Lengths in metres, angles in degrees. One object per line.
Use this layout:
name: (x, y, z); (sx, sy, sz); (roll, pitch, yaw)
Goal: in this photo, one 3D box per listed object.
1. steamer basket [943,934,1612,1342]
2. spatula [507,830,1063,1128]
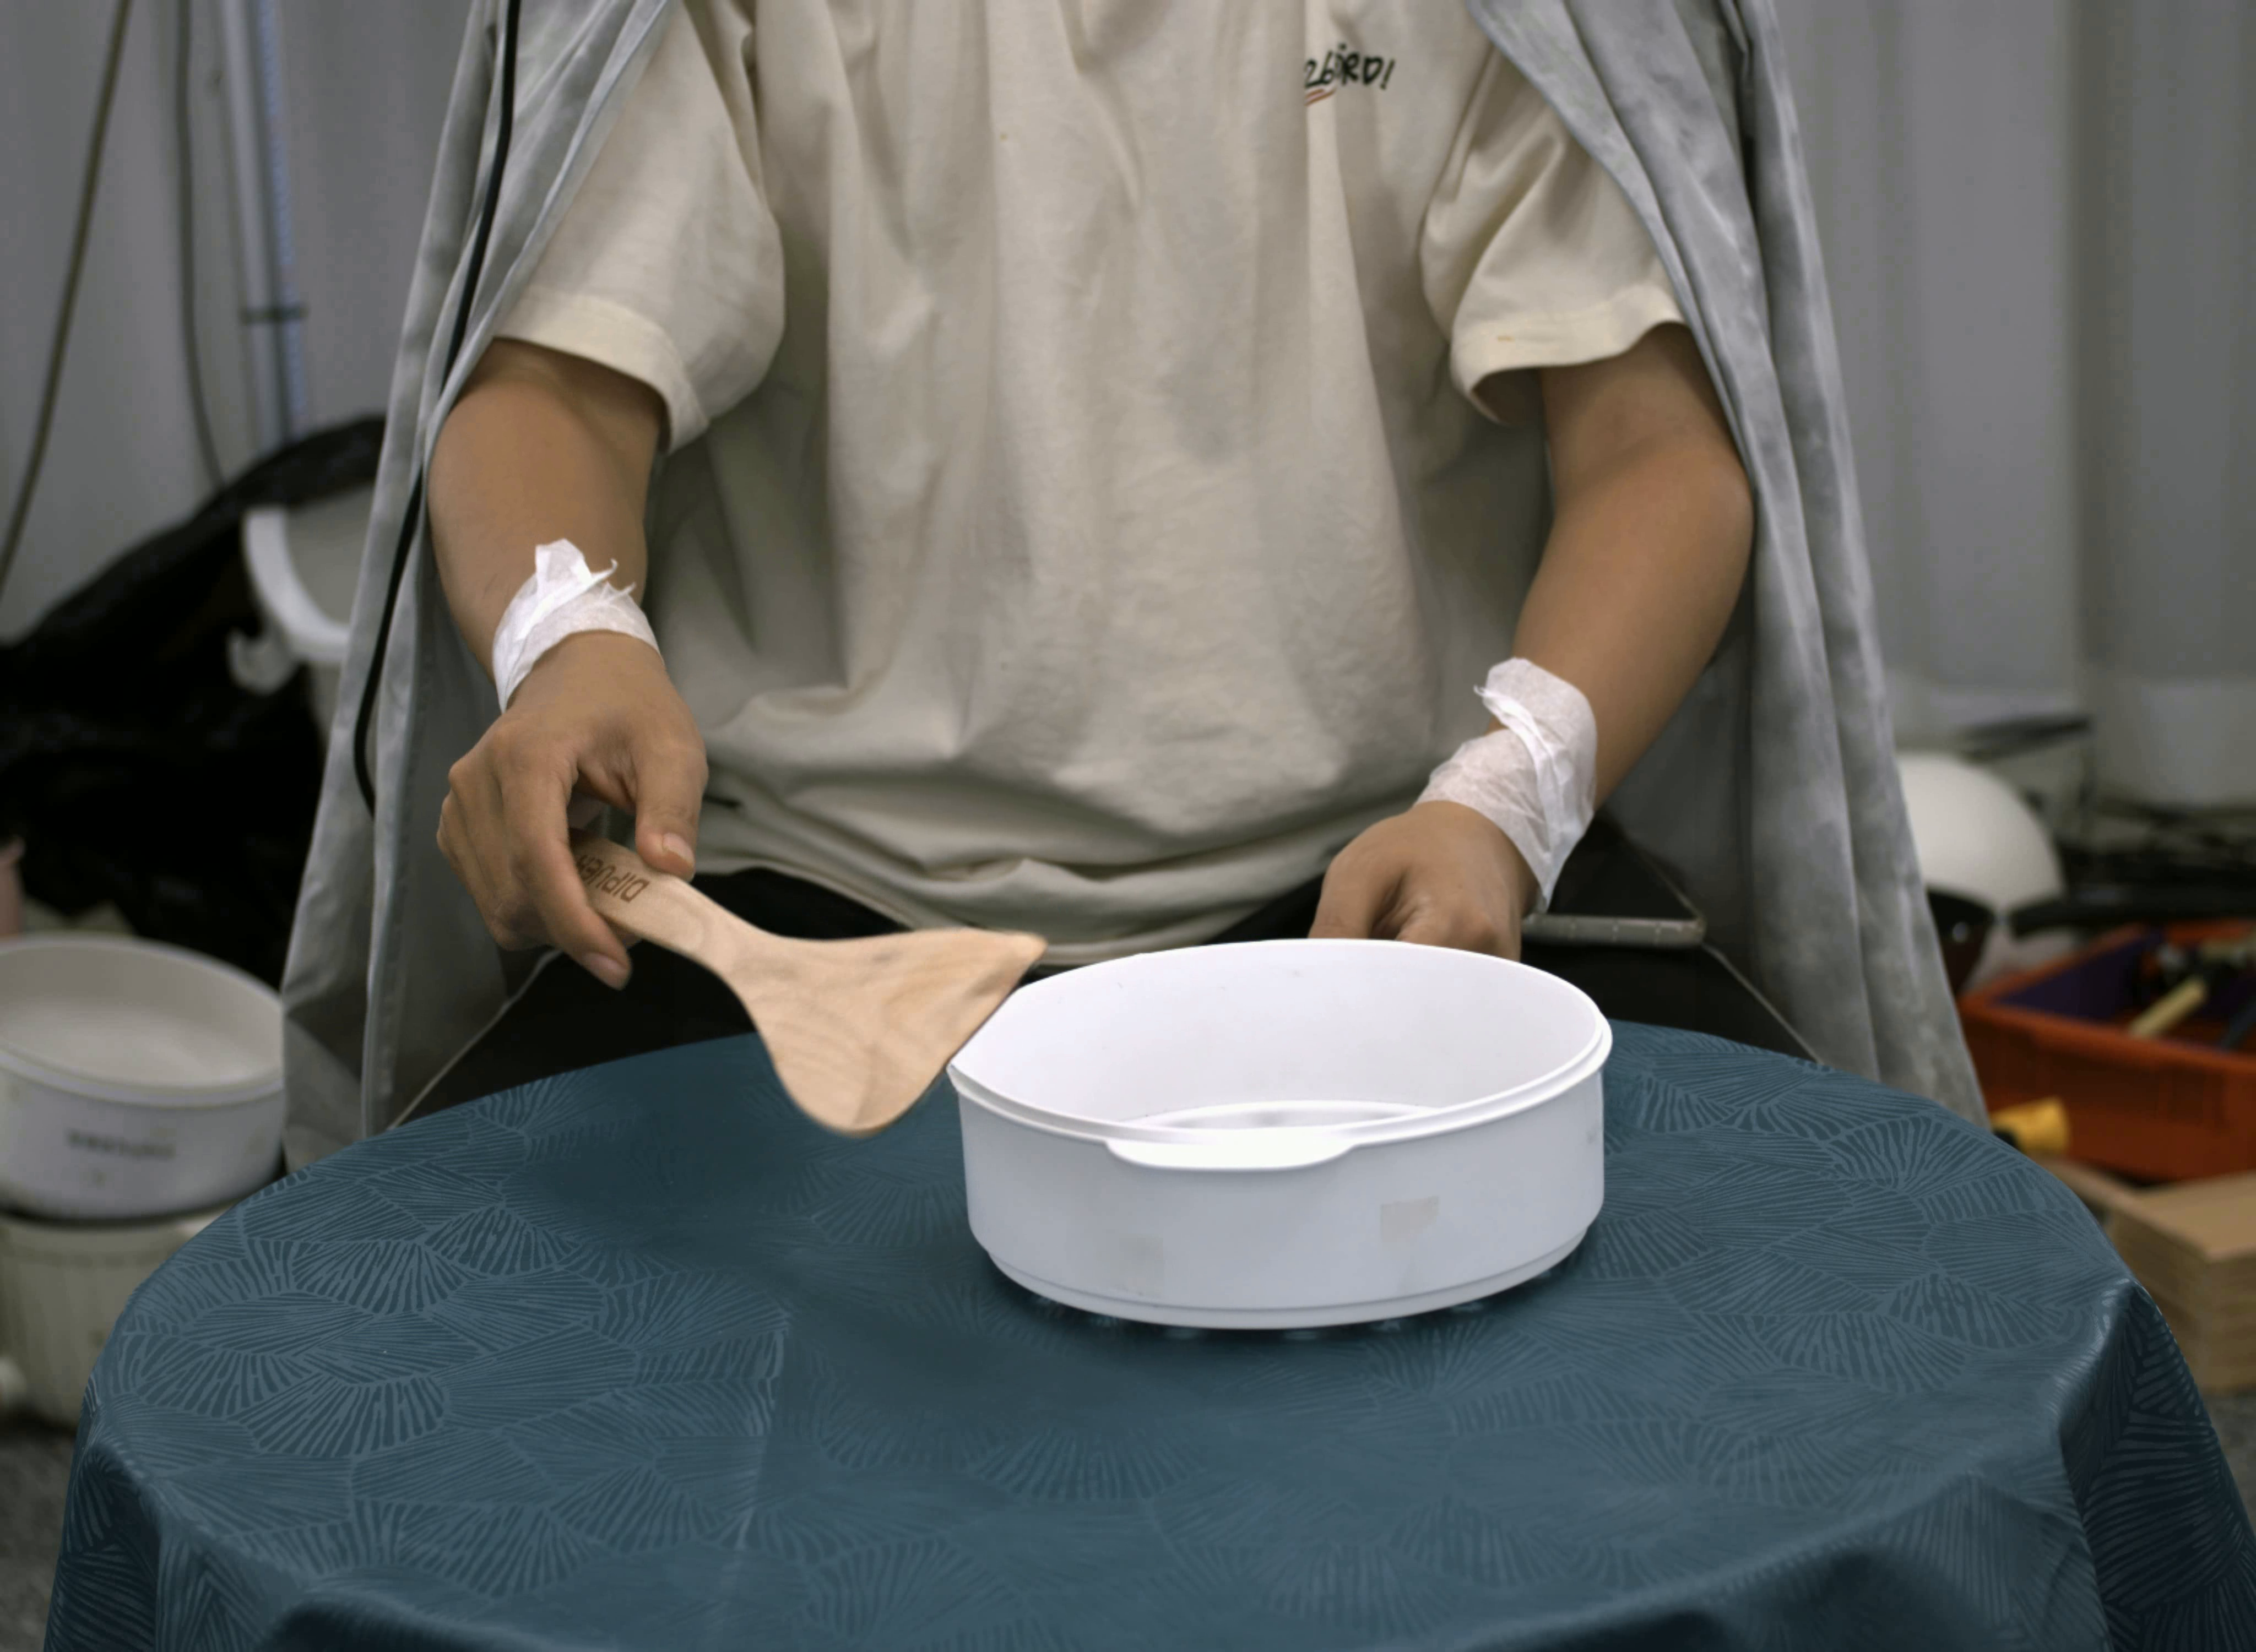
steamer basket: (0.045, 0.094, 1.653); (0.201, 0.069, 0.232); (2, 17, 10)
spatula: (-0.116, 0.033, 1.647); (0.080, 0.016, 0.330); (-46, 28, -15)
